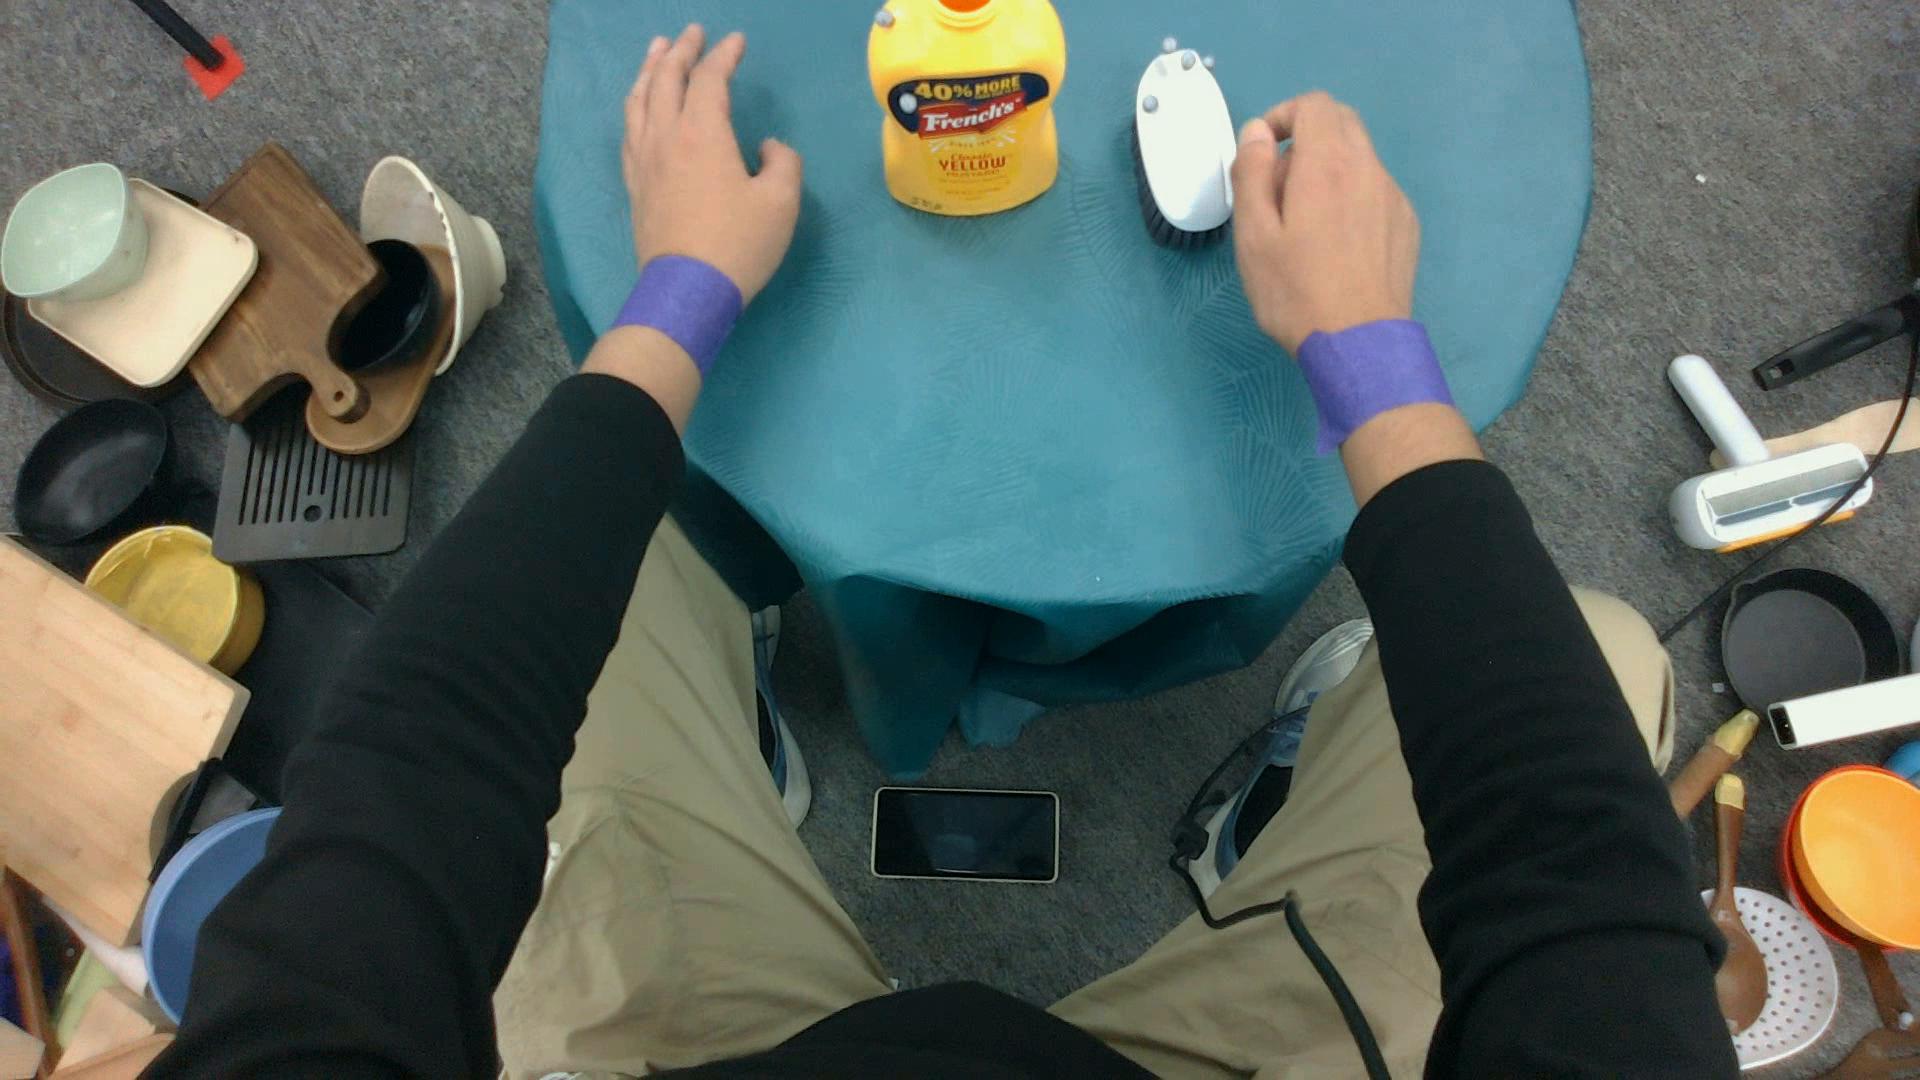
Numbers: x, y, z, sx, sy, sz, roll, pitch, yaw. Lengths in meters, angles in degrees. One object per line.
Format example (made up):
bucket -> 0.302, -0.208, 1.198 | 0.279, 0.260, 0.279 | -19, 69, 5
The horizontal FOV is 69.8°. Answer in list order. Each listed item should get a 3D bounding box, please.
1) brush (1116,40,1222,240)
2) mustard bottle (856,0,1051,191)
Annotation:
brush -> 0.114, -0.221, 0.742 | 0.050, 0.072, 0.099 | -8, 76, 0
mustard bottle -> -0.002, -0.237, 0.699 | 0.098, 0.171, 0.059 | -9, 82, -2
